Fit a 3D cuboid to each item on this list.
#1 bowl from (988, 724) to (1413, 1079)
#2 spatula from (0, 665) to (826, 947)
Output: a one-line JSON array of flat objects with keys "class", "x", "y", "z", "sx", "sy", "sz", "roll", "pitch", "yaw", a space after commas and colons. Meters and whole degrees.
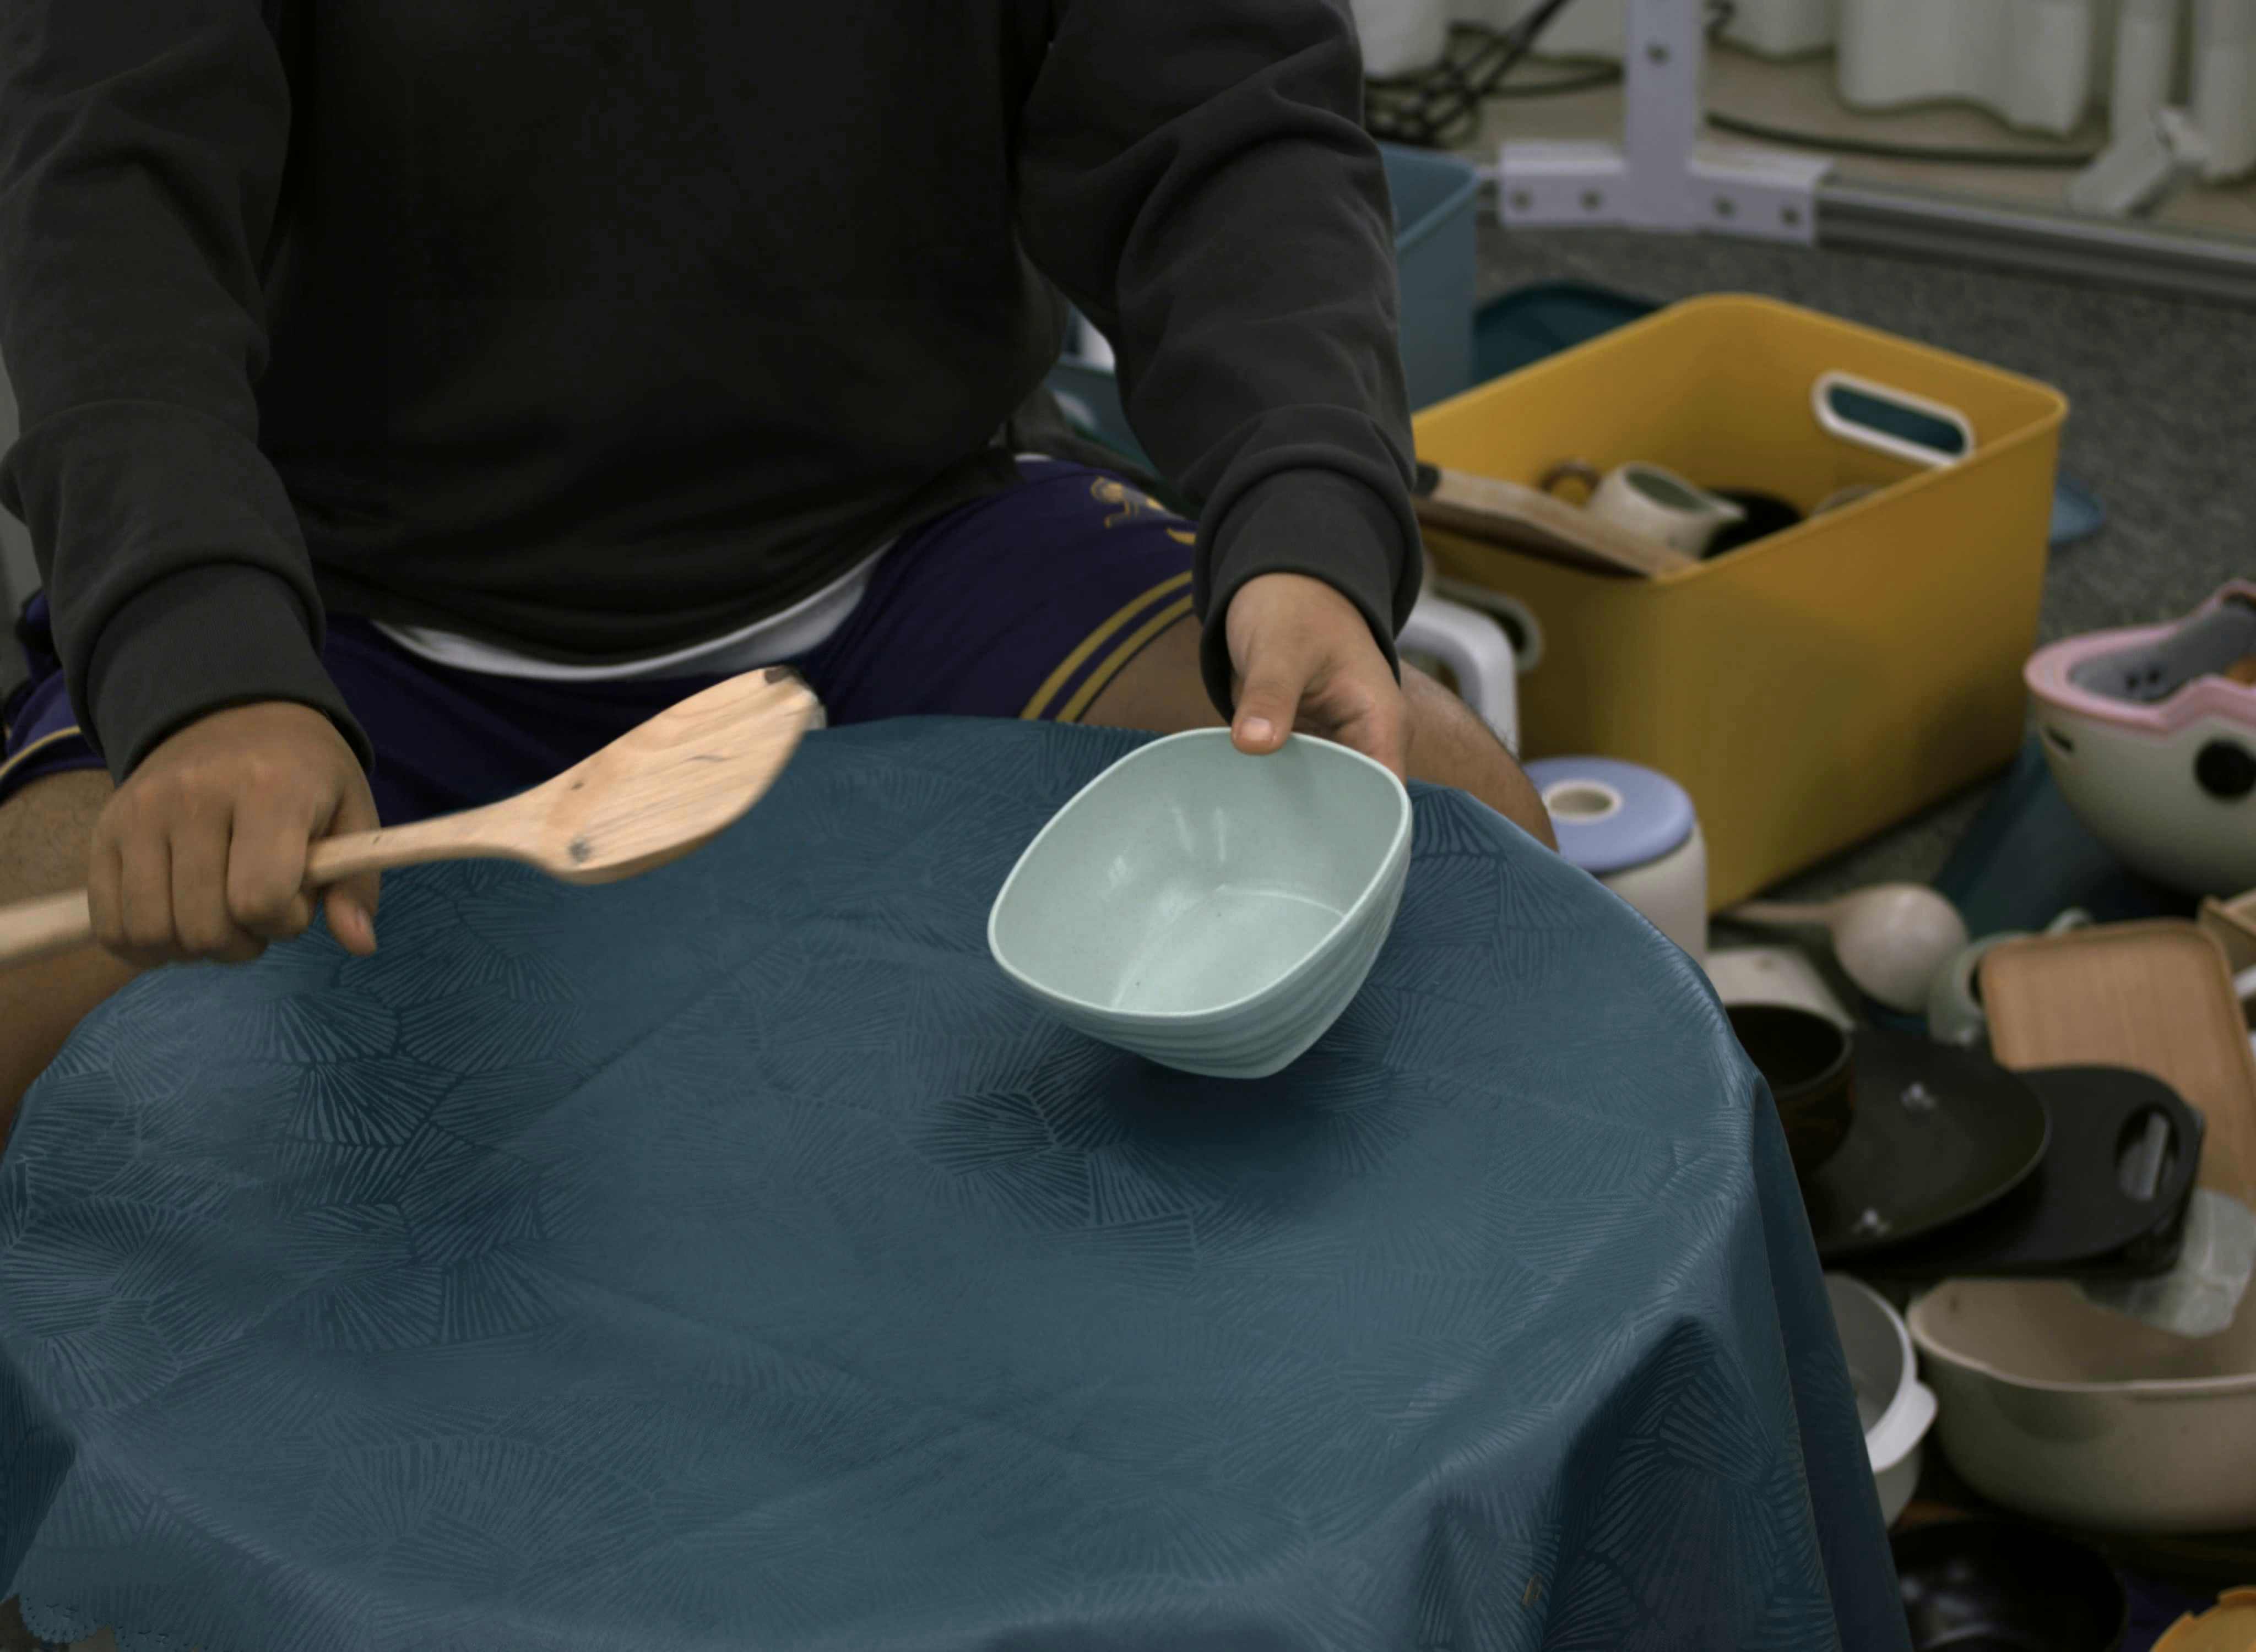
[{"class": "bowl", "x": 0.032, "y": 0.034, "z": 1.914, "sx": 0.150, "sy": 0.058, "sz": 0.154, "roll": -13, "pitch": 39, "yaw": 11}, {"class": "spatula", "x": -0.267, "y": 0.013, "z": 1.804, "sx": 0.386, "sy": 0.018, "sz": 0.098, "roll": -11, "pitch": 32, "yaw": 24}]
